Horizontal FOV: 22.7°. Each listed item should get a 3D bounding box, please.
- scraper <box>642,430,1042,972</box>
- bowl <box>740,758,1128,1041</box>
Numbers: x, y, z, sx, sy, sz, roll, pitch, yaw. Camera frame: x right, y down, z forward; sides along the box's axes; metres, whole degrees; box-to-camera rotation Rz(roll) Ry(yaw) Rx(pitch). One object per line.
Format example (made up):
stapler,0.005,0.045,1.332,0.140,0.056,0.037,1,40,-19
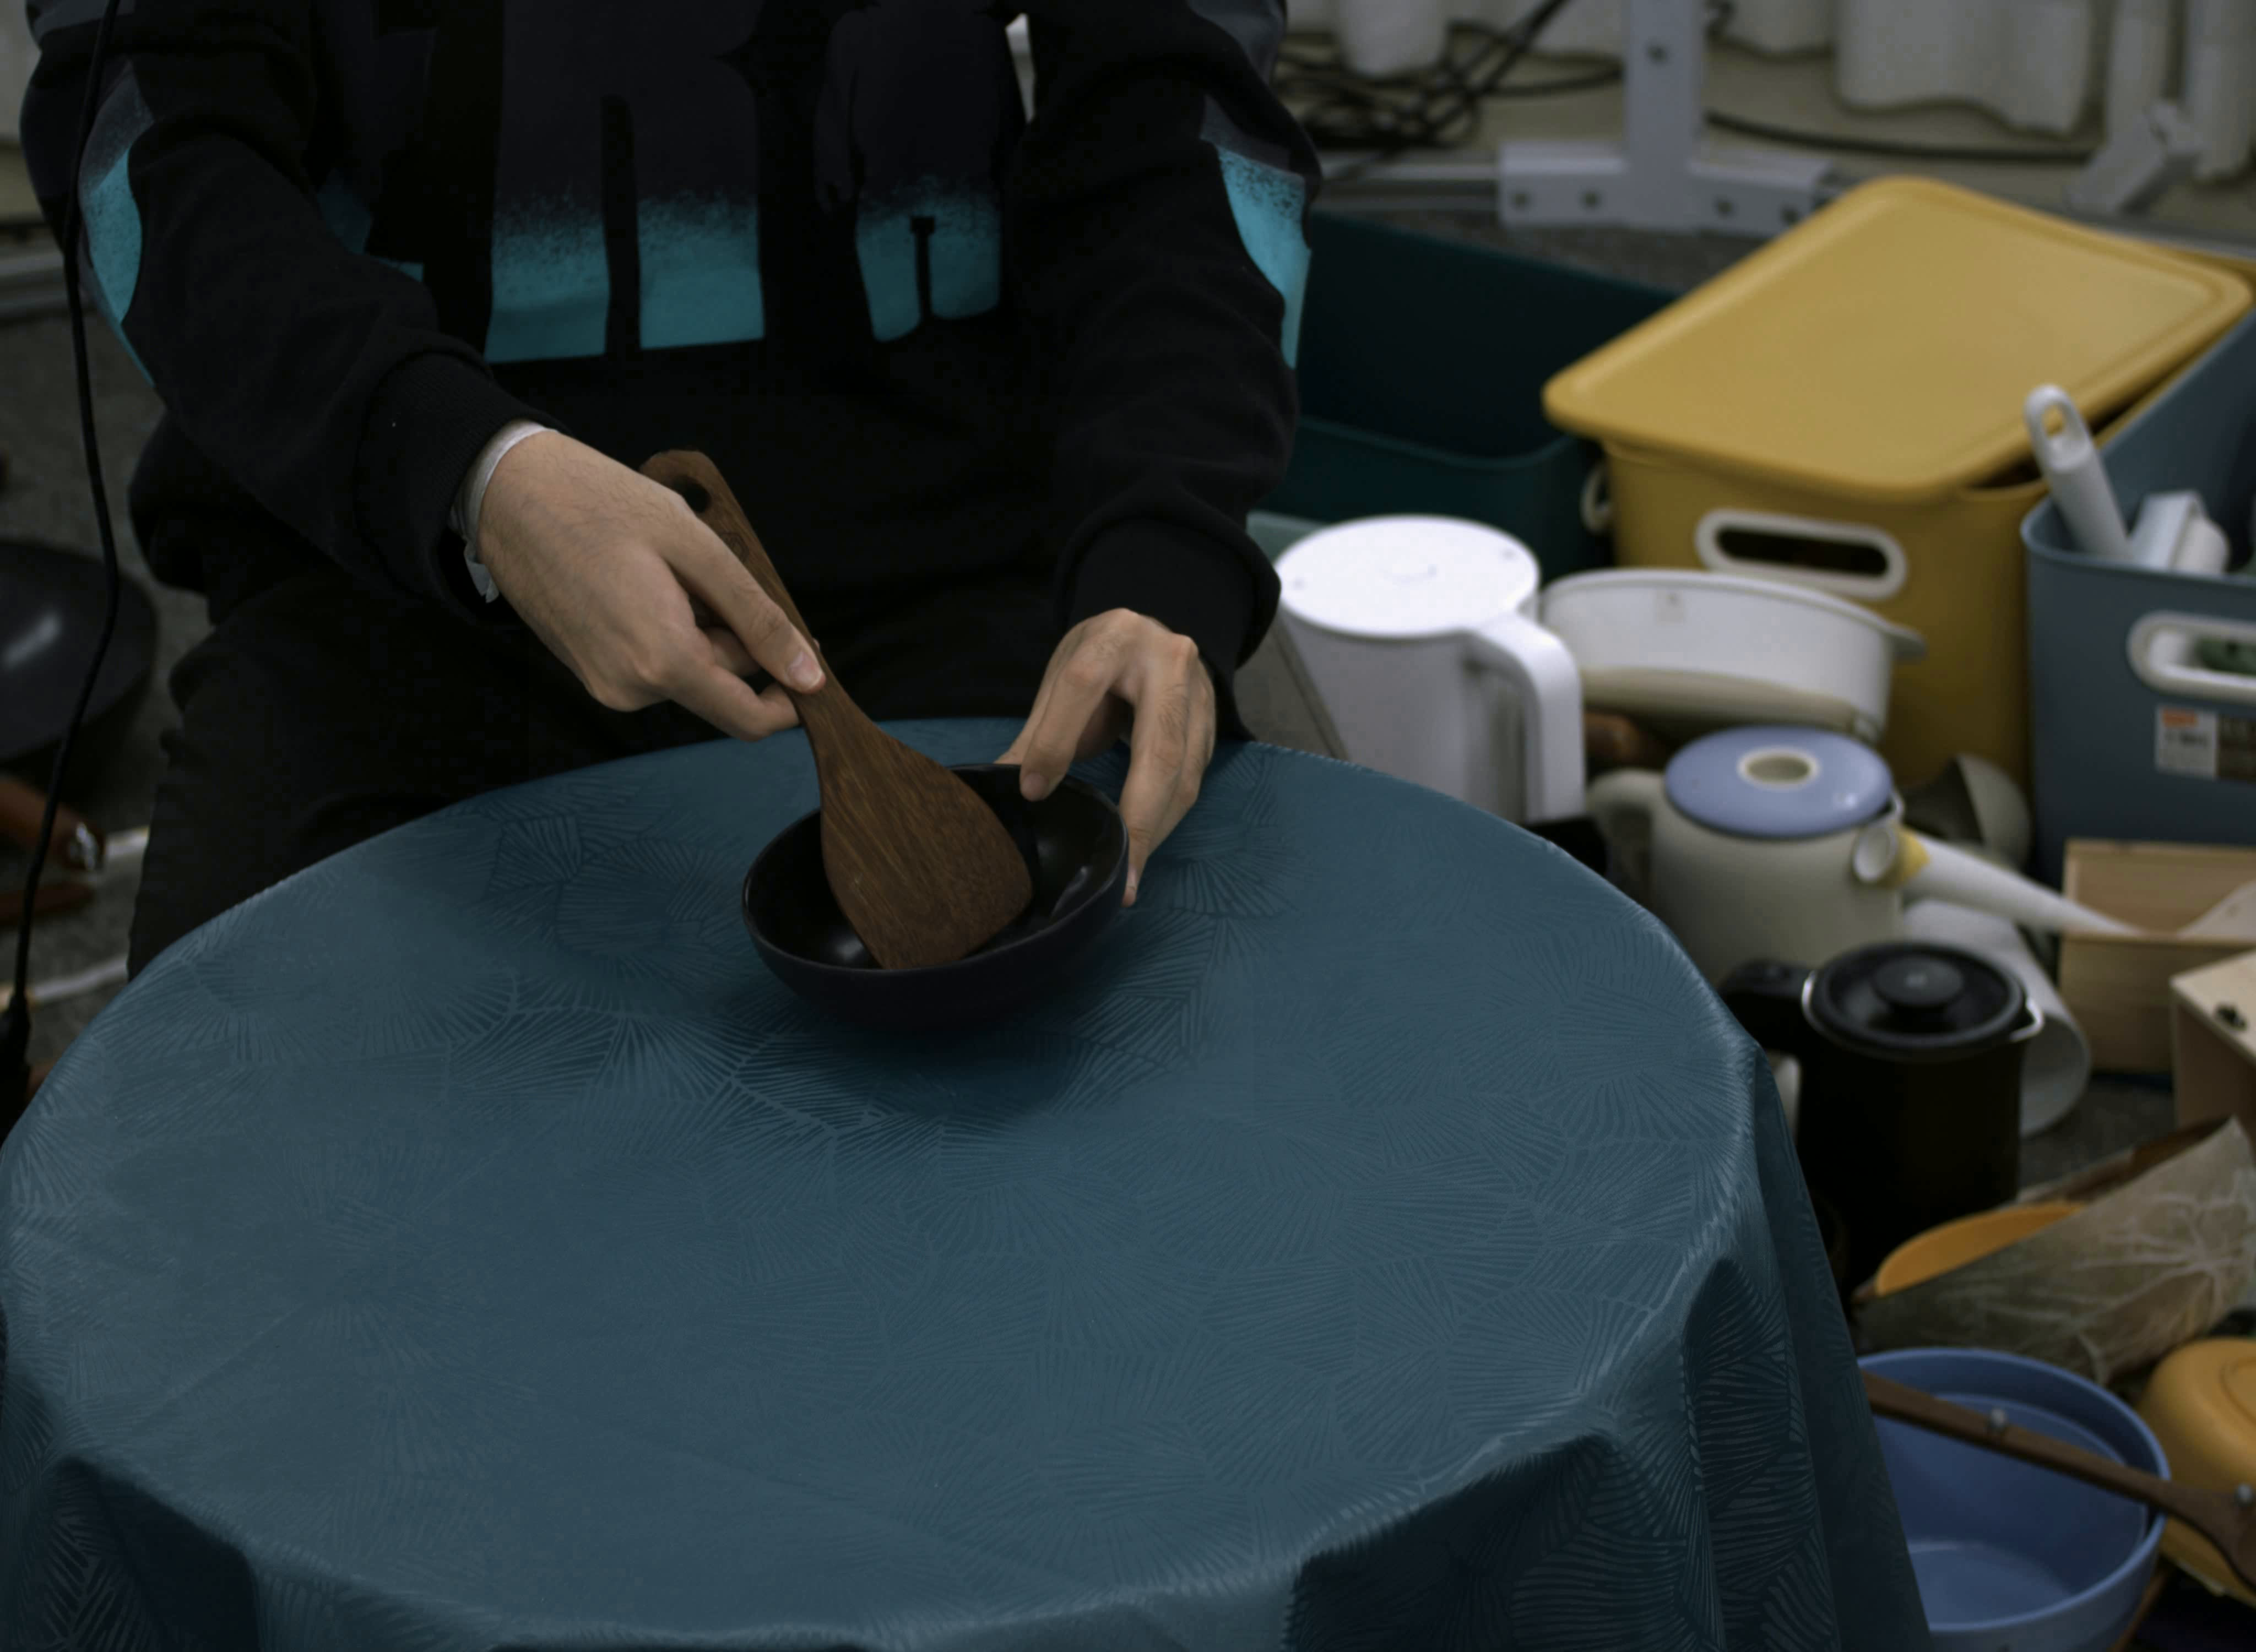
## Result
scraper,-0.109,-0.046,1.991,0.077,0.211,0.010,-32,1,-30
bowl,-0.063,0.034,1.970,0.139,0.049,0.142,-9,31,6
